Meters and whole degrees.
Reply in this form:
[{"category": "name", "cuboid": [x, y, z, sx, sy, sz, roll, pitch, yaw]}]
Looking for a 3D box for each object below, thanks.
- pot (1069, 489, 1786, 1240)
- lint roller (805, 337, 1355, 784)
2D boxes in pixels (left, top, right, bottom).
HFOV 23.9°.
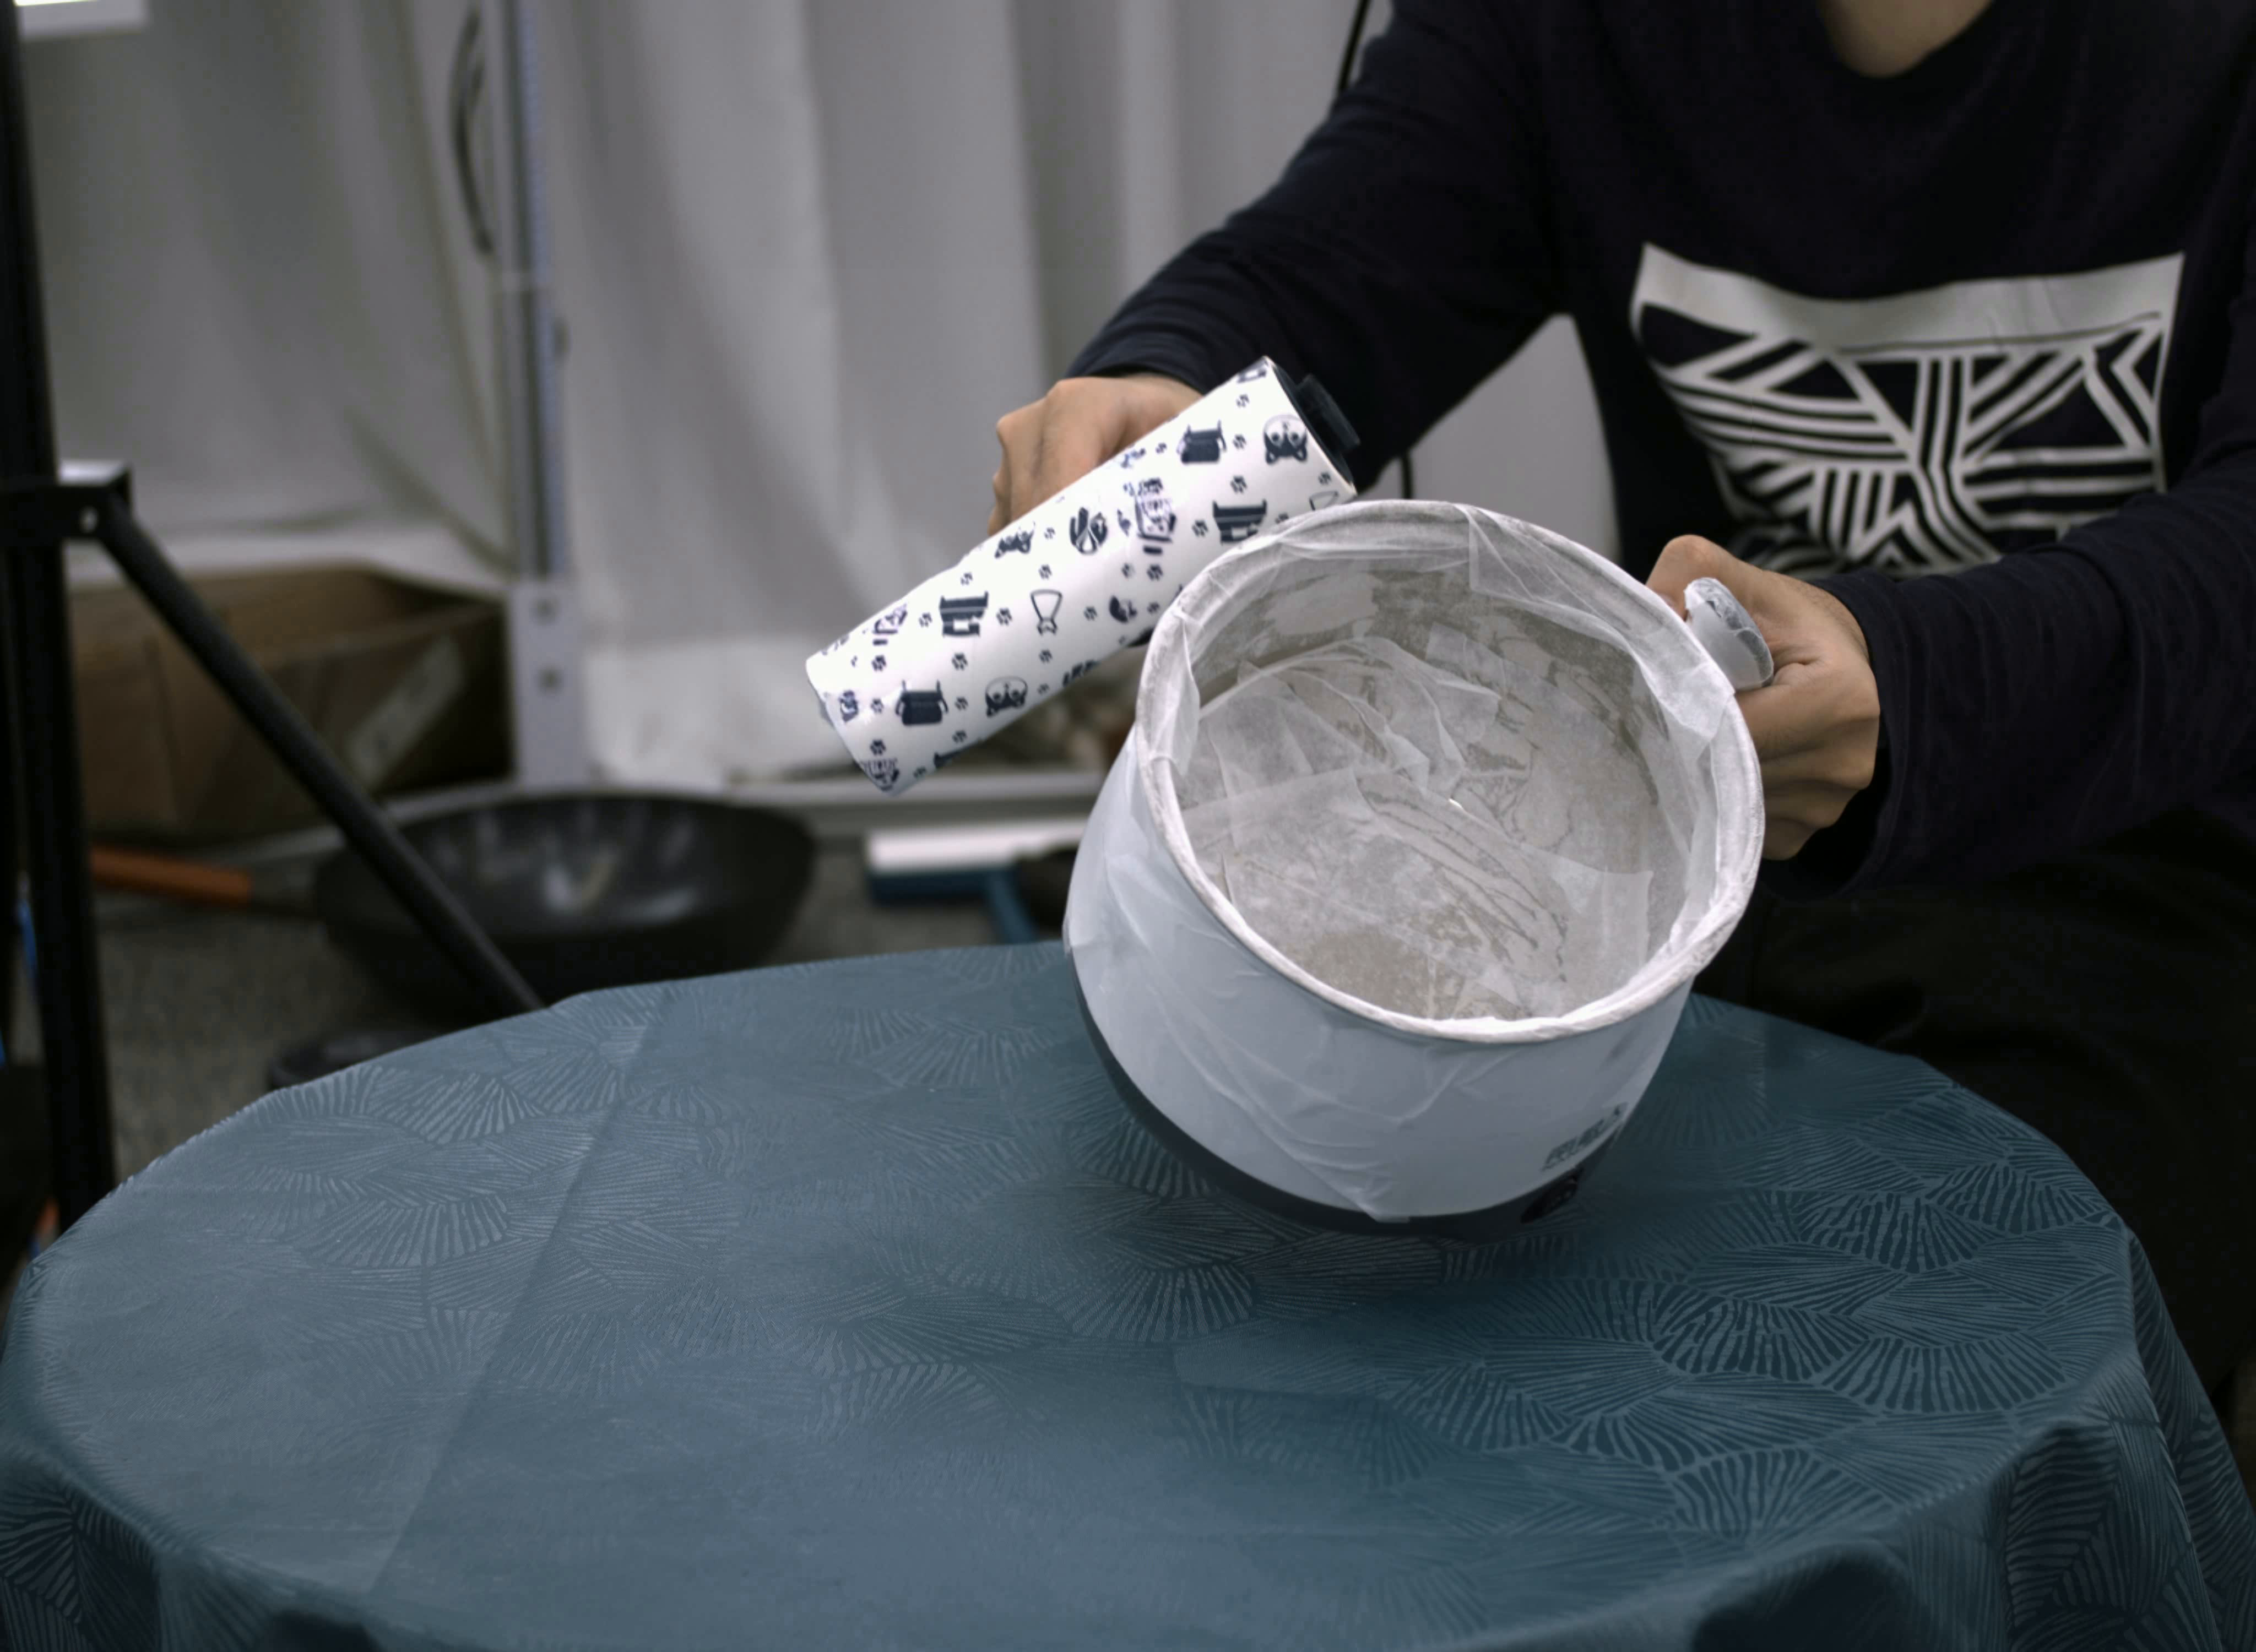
[{"category": "pot", "cuboid": [0.098, 0.002, 1.497, 0.230, 0.136, 0.181, -32, 71, -25]}, {"category": "lint roller", "cuboid": [-0.006, -0.083, 1.617, 0.176, 0.050, 0.246, -34, 2, 7]}]
